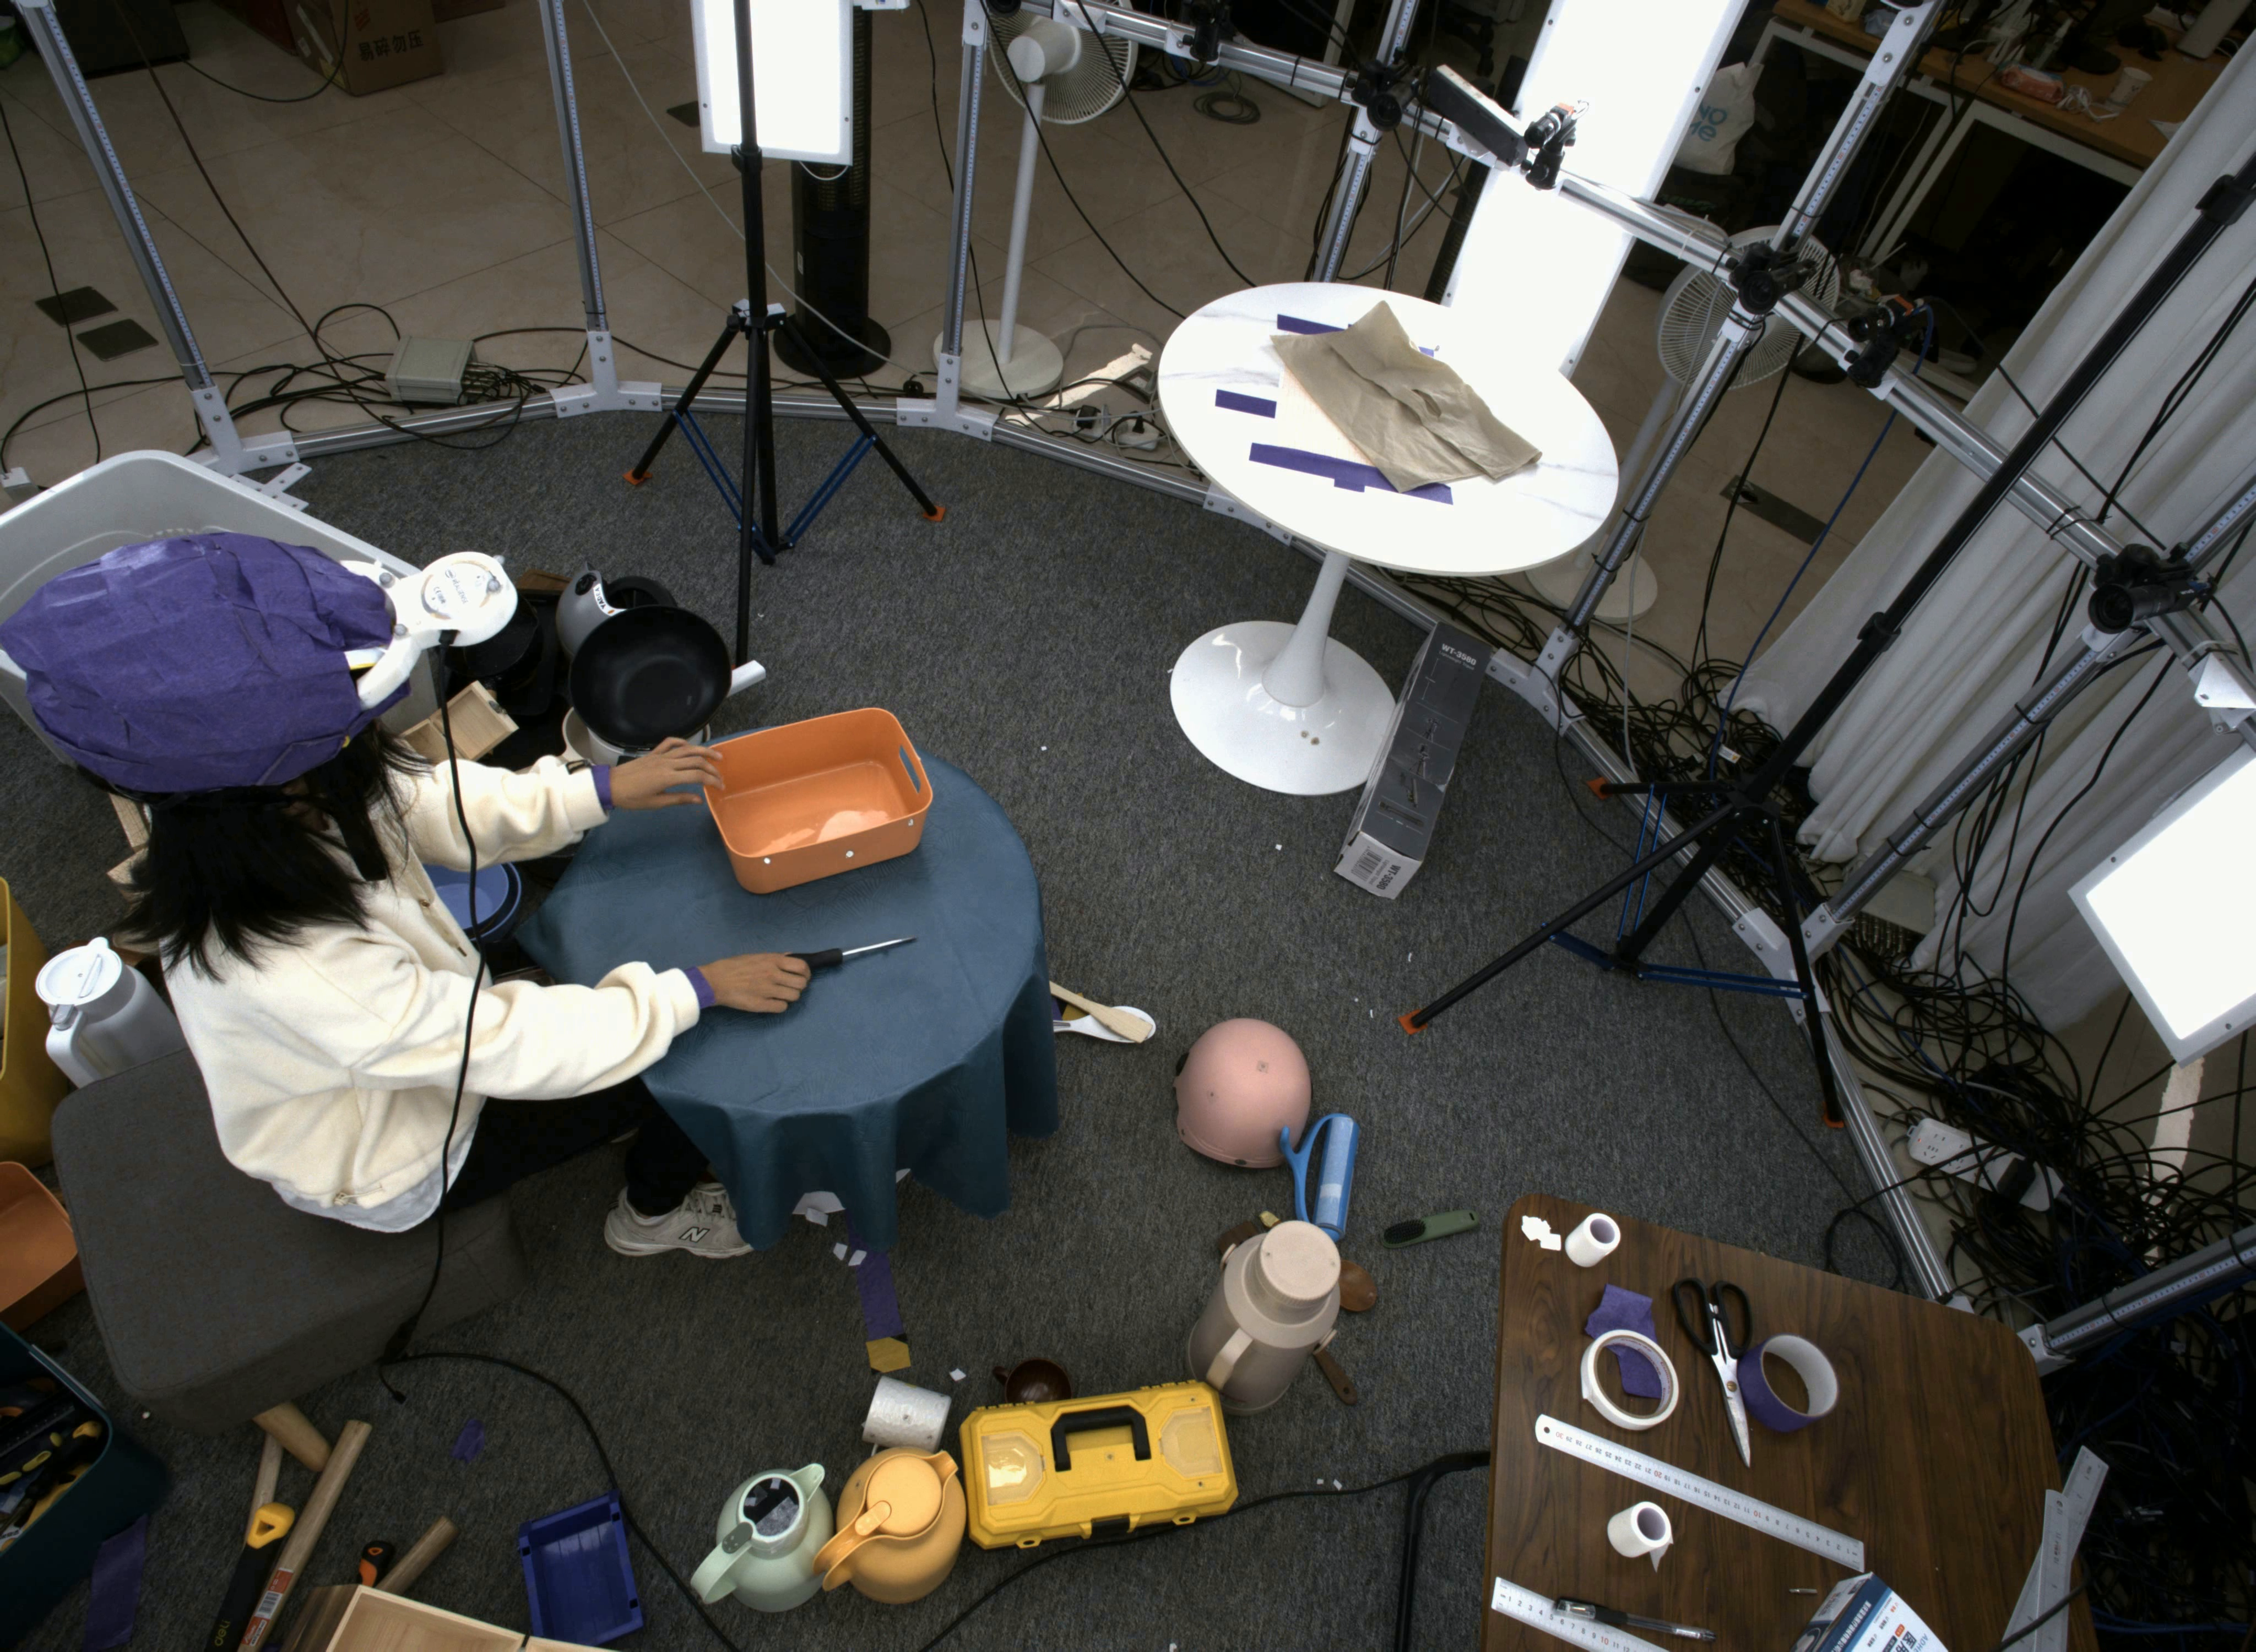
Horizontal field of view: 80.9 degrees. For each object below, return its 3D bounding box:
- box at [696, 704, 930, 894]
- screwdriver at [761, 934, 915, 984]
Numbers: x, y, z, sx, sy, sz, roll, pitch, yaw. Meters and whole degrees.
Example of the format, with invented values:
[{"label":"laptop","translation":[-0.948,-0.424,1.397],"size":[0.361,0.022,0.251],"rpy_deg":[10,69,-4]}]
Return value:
[{"label":"box","translation":[-0.408,-0.034,1.681],"size":[0.275,0.104,0.194],"rpy_deg":[-17,60,-26]},{"label":"screwdriver","translation":[-0.355,0.160,1.604],"size":[0.199,0.032,0.030],"rpy_deg":[-11,56,-25]}]
